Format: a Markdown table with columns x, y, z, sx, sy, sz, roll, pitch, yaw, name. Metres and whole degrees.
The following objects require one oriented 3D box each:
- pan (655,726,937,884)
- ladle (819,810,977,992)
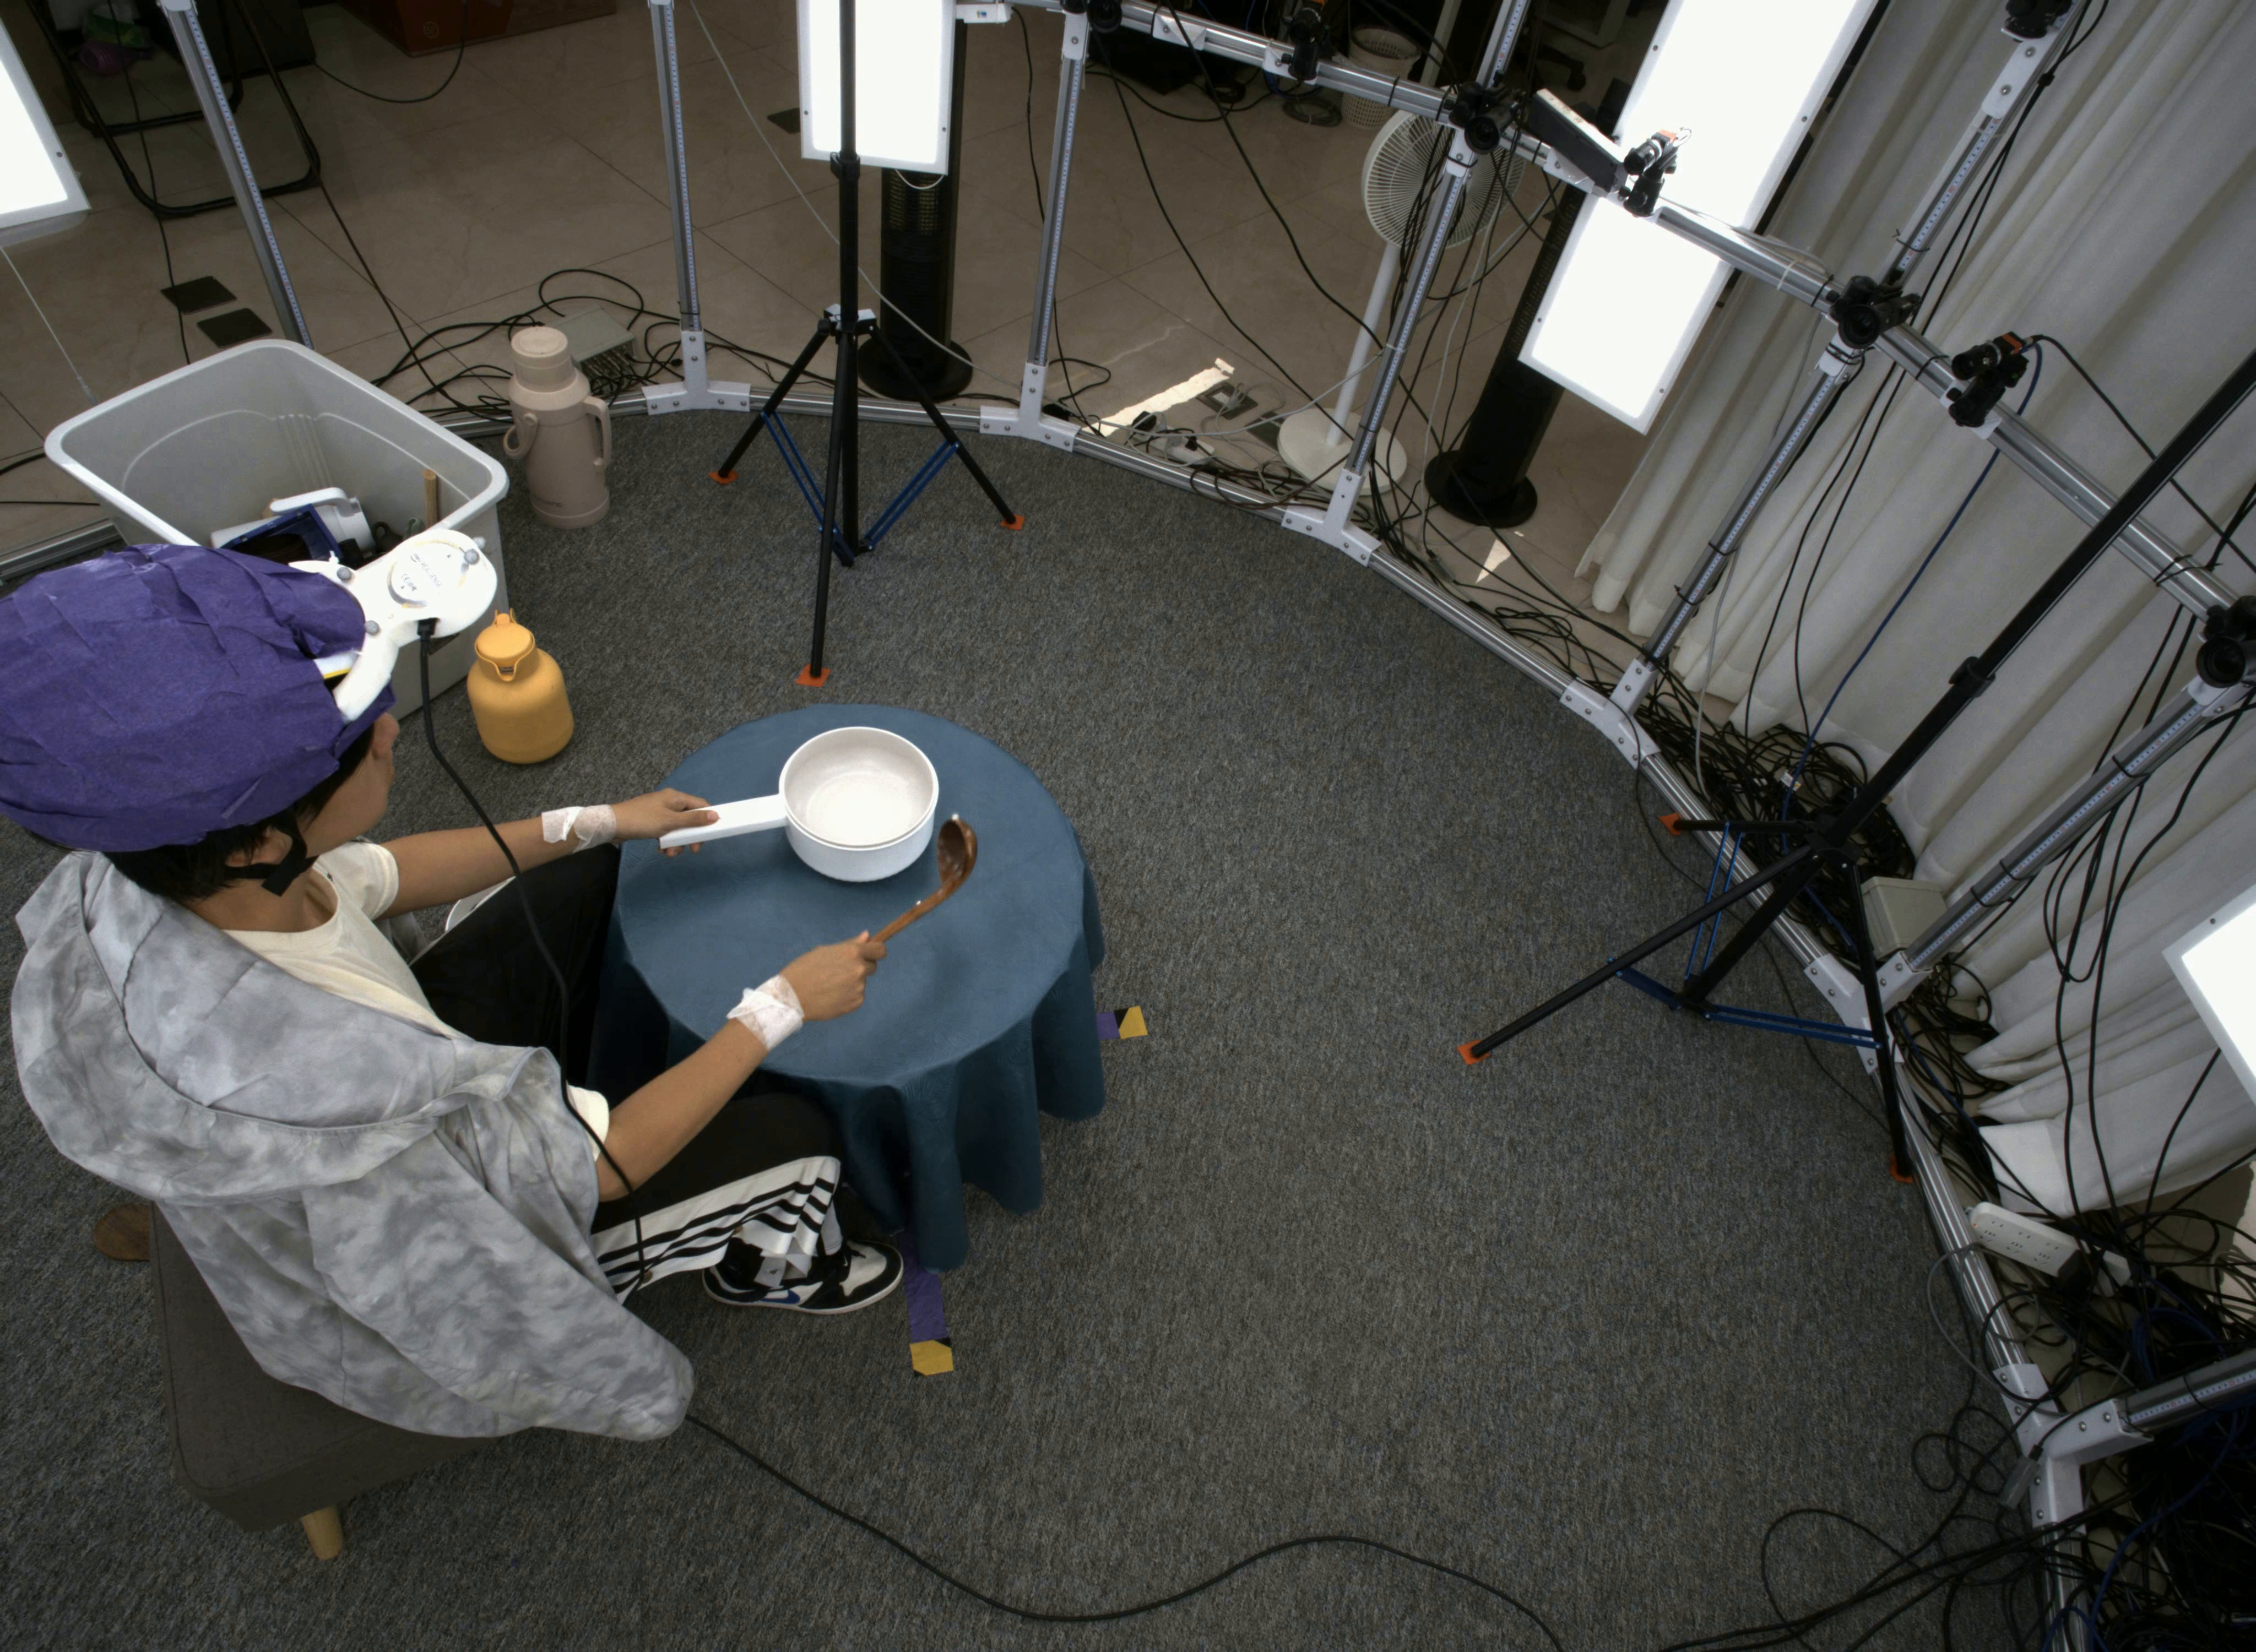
| x | y | z | sx | sy | sz | roll | pitch | yaw | name |
| --- | --- | --- | --- | --- | --- | --- | --- | --- | --- |
| -0.422 | -0.007 | 1.670 | 0.356 | 0.104 | 0.196 | -13 | 59 | -21 | pan |
| -0.273 | 0.077 | 1.511 | 0.077 | 0.081 | 0.274 | 50 | 55 | 0 | ladle |
